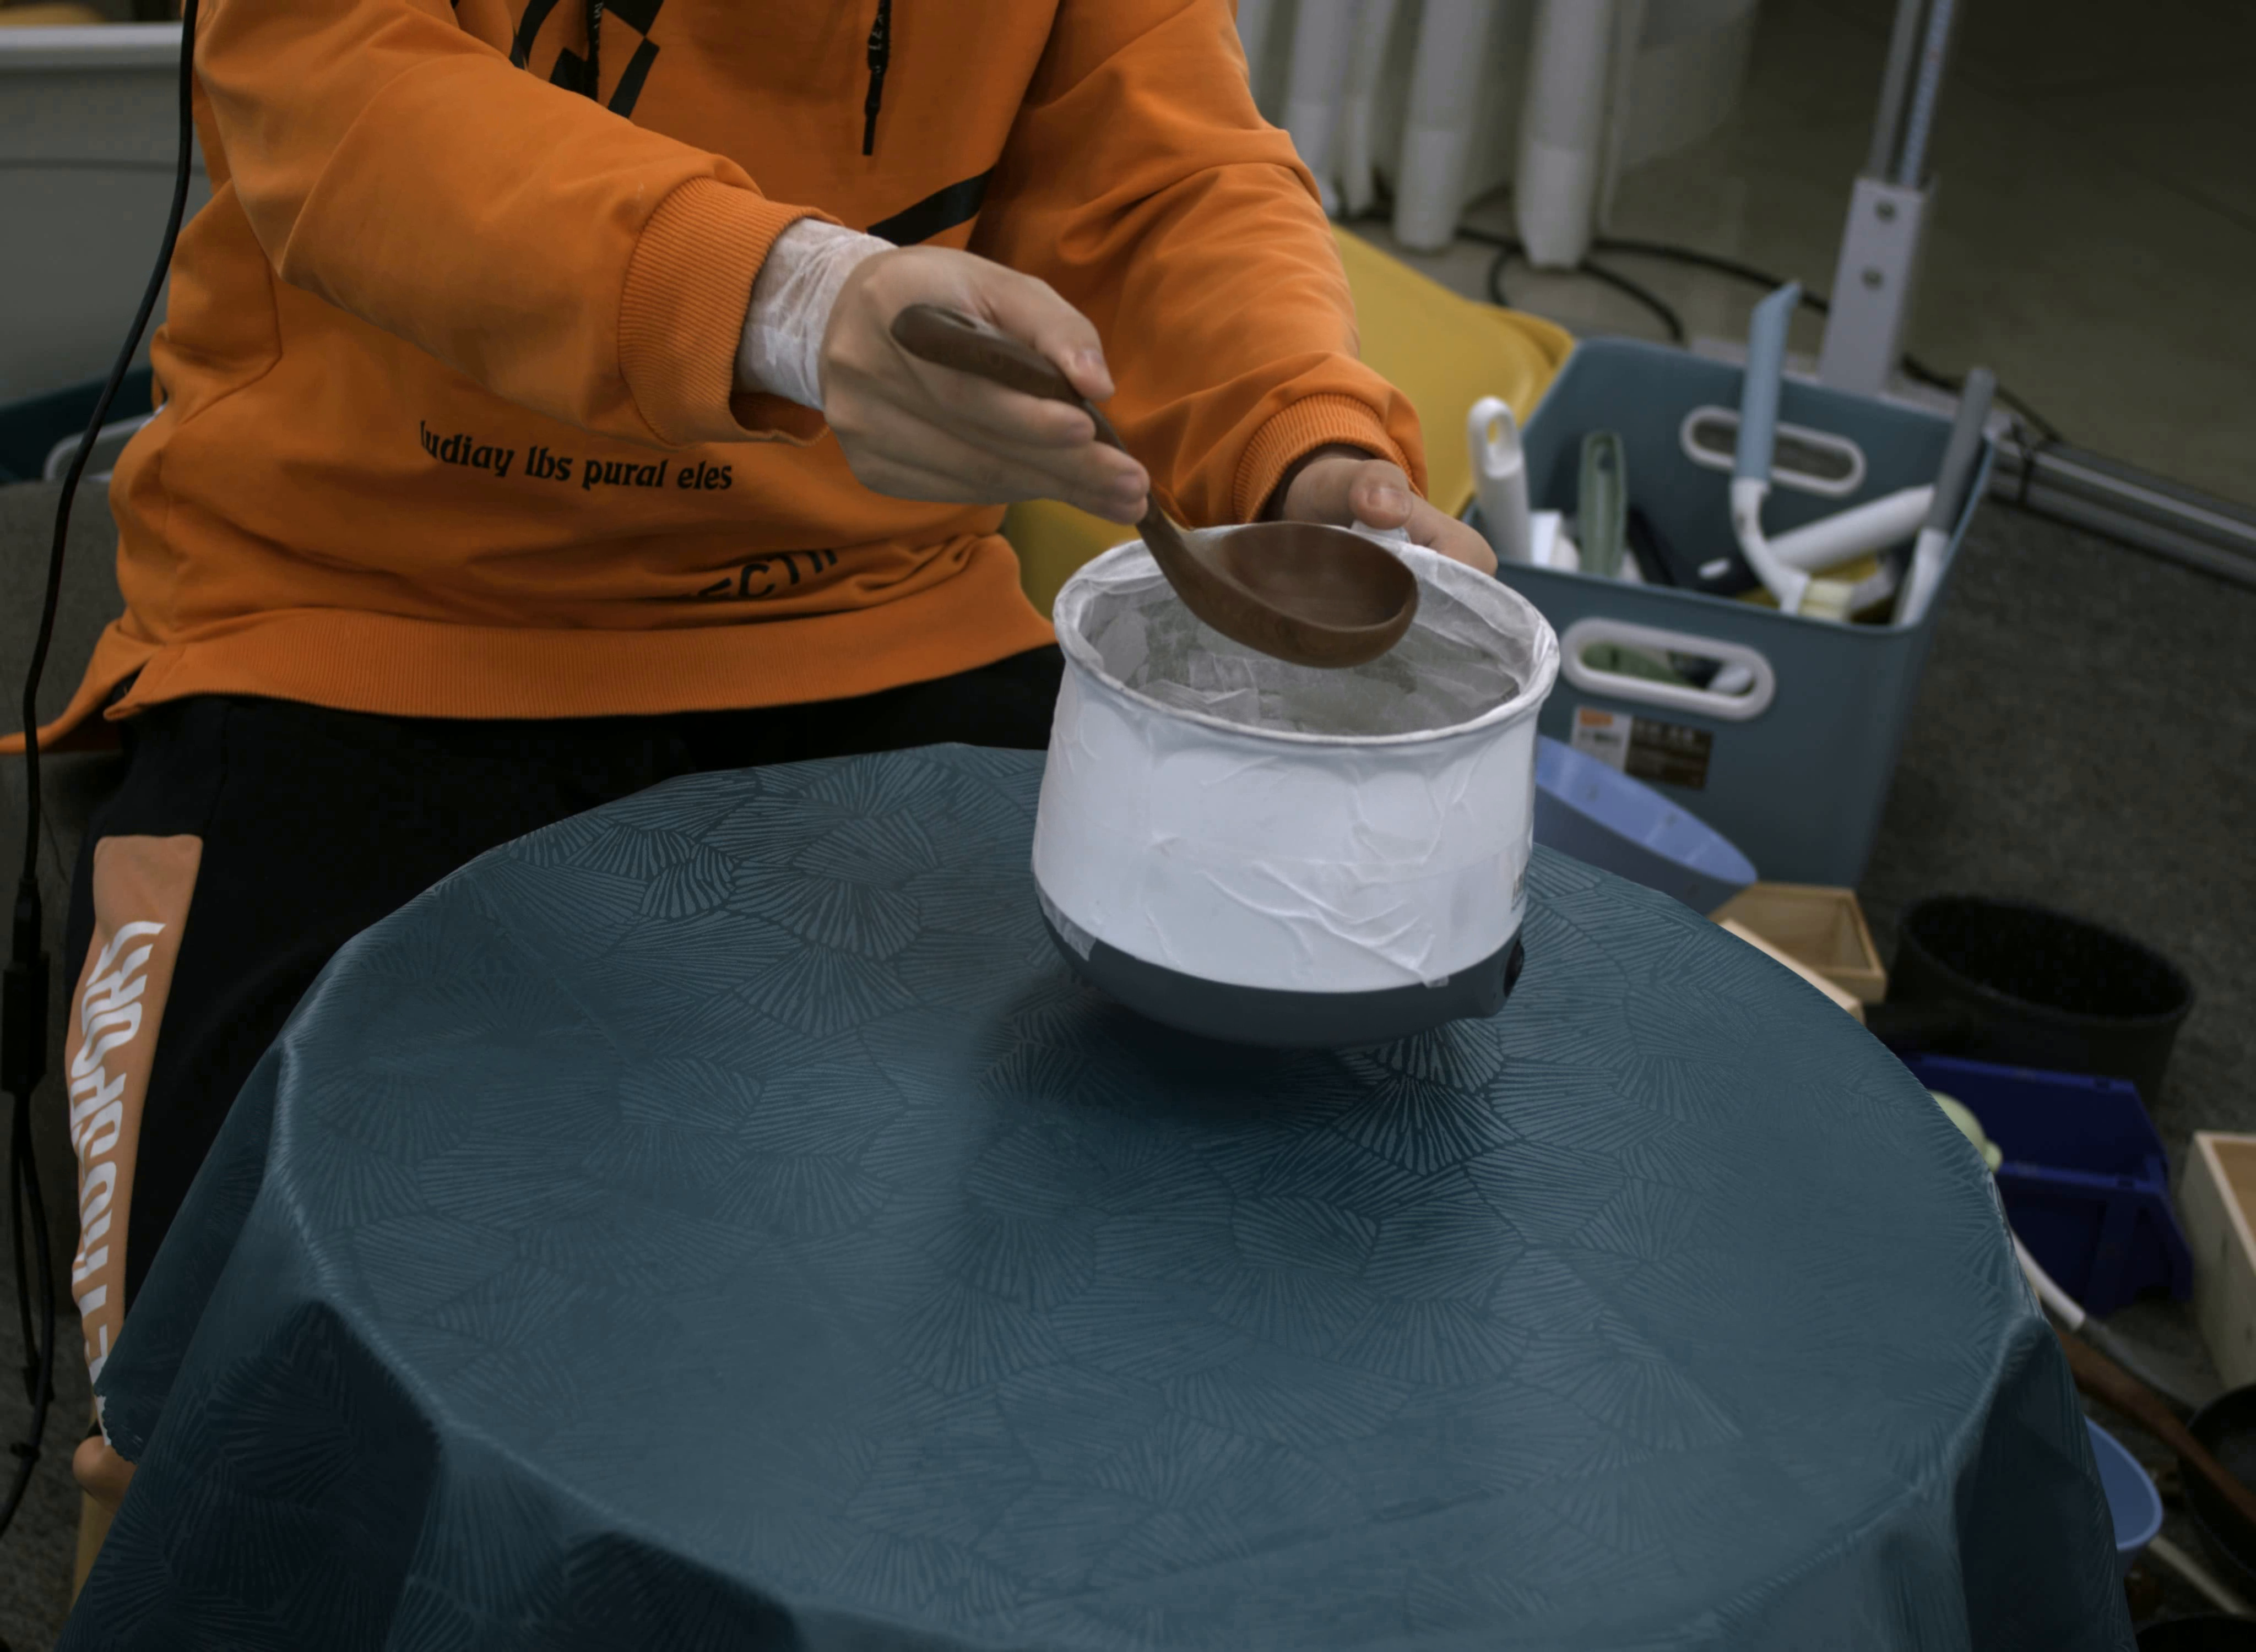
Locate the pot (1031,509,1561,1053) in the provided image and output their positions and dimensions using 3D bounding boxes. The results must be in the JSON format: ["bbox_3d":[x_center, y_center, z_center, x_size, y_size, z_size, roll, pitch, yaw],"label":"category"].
[{"bbox_3d":[0.064,-0.025,1.898,0.179,0.136,0.234,11,27,12],"label":"pot"}]

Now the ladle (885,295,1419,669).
[{"bbox_3d":[0.011,-0.124,1.772,0.077,0.065,0.257,38,-2,44],"label":"ladle"}]
